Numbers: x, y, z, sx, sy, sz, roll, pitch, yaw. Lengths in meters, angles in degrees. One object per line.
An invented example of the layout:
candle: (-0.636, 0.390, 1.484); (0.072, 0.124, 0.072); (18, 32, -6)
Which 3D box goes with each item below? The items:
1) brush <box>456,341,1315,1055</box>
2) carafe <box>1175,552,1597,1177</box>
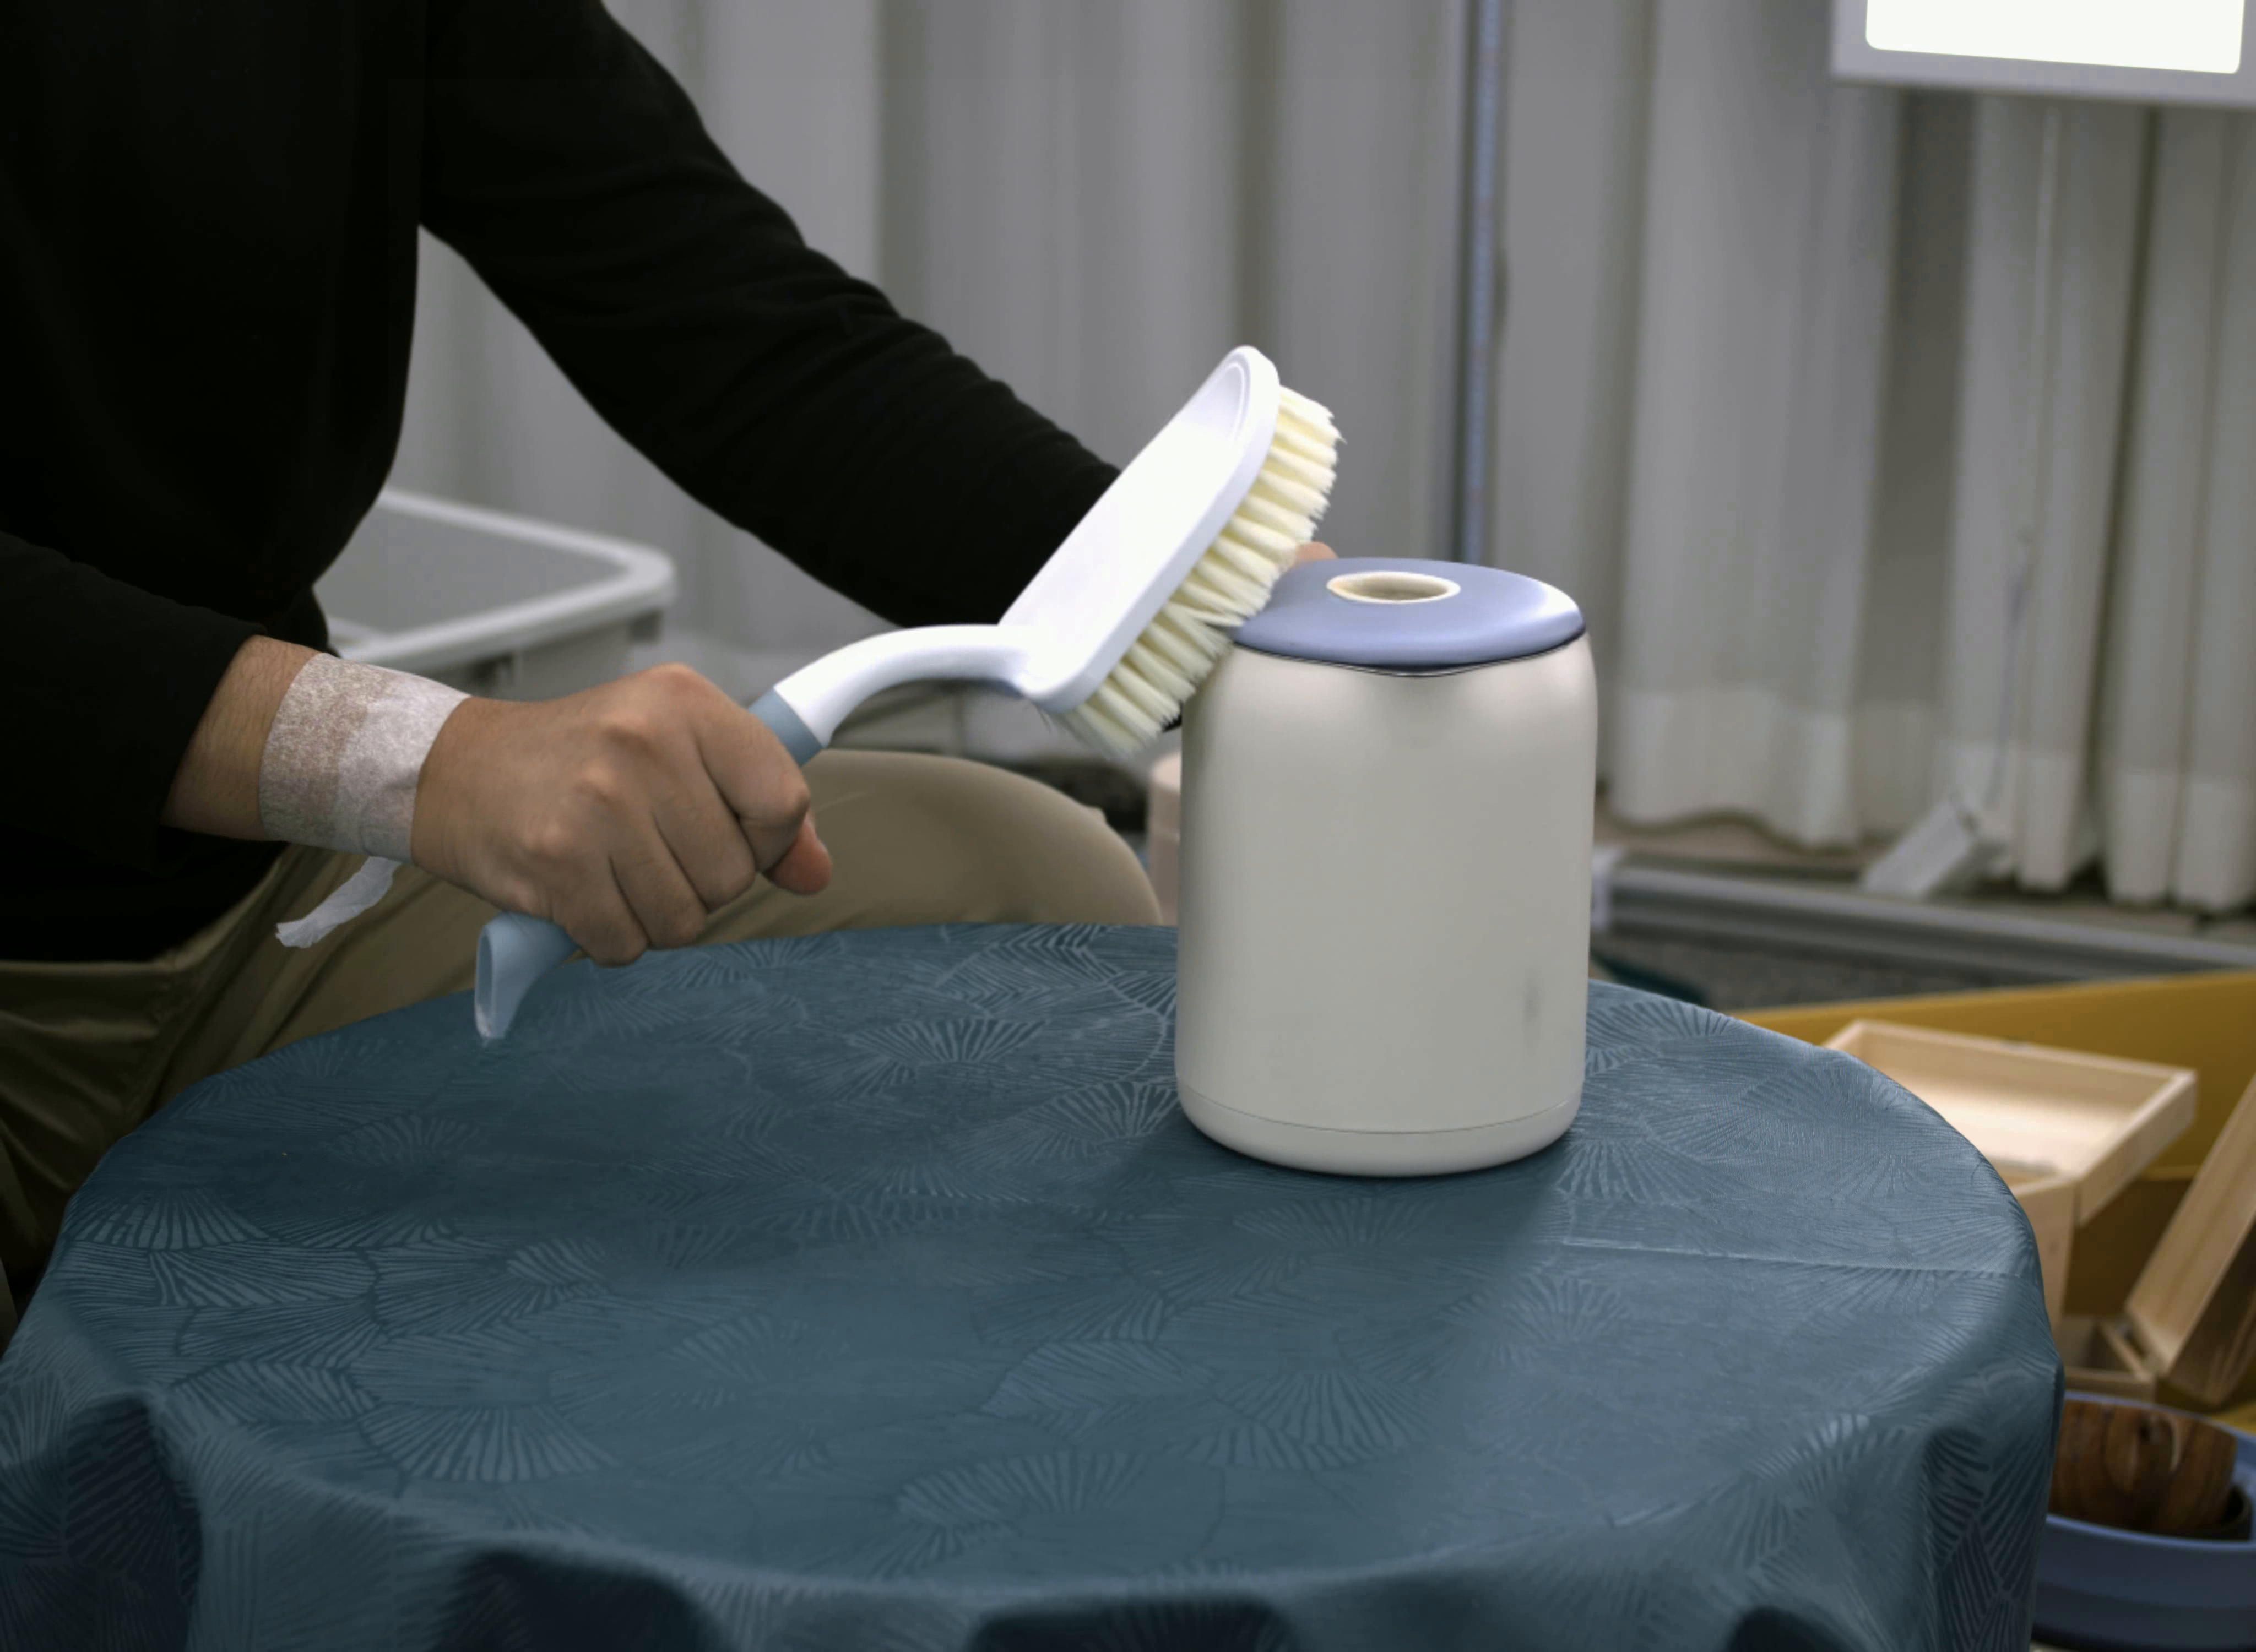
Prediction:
brush: (-0.066, -0.020, 1.622); (0.084, 0.325, 0.083); (47, -6, 14)
carafe: (0.079, 0.005, 1.687); (0.132, 0.184, 0.190); (-1, 15, -6)
